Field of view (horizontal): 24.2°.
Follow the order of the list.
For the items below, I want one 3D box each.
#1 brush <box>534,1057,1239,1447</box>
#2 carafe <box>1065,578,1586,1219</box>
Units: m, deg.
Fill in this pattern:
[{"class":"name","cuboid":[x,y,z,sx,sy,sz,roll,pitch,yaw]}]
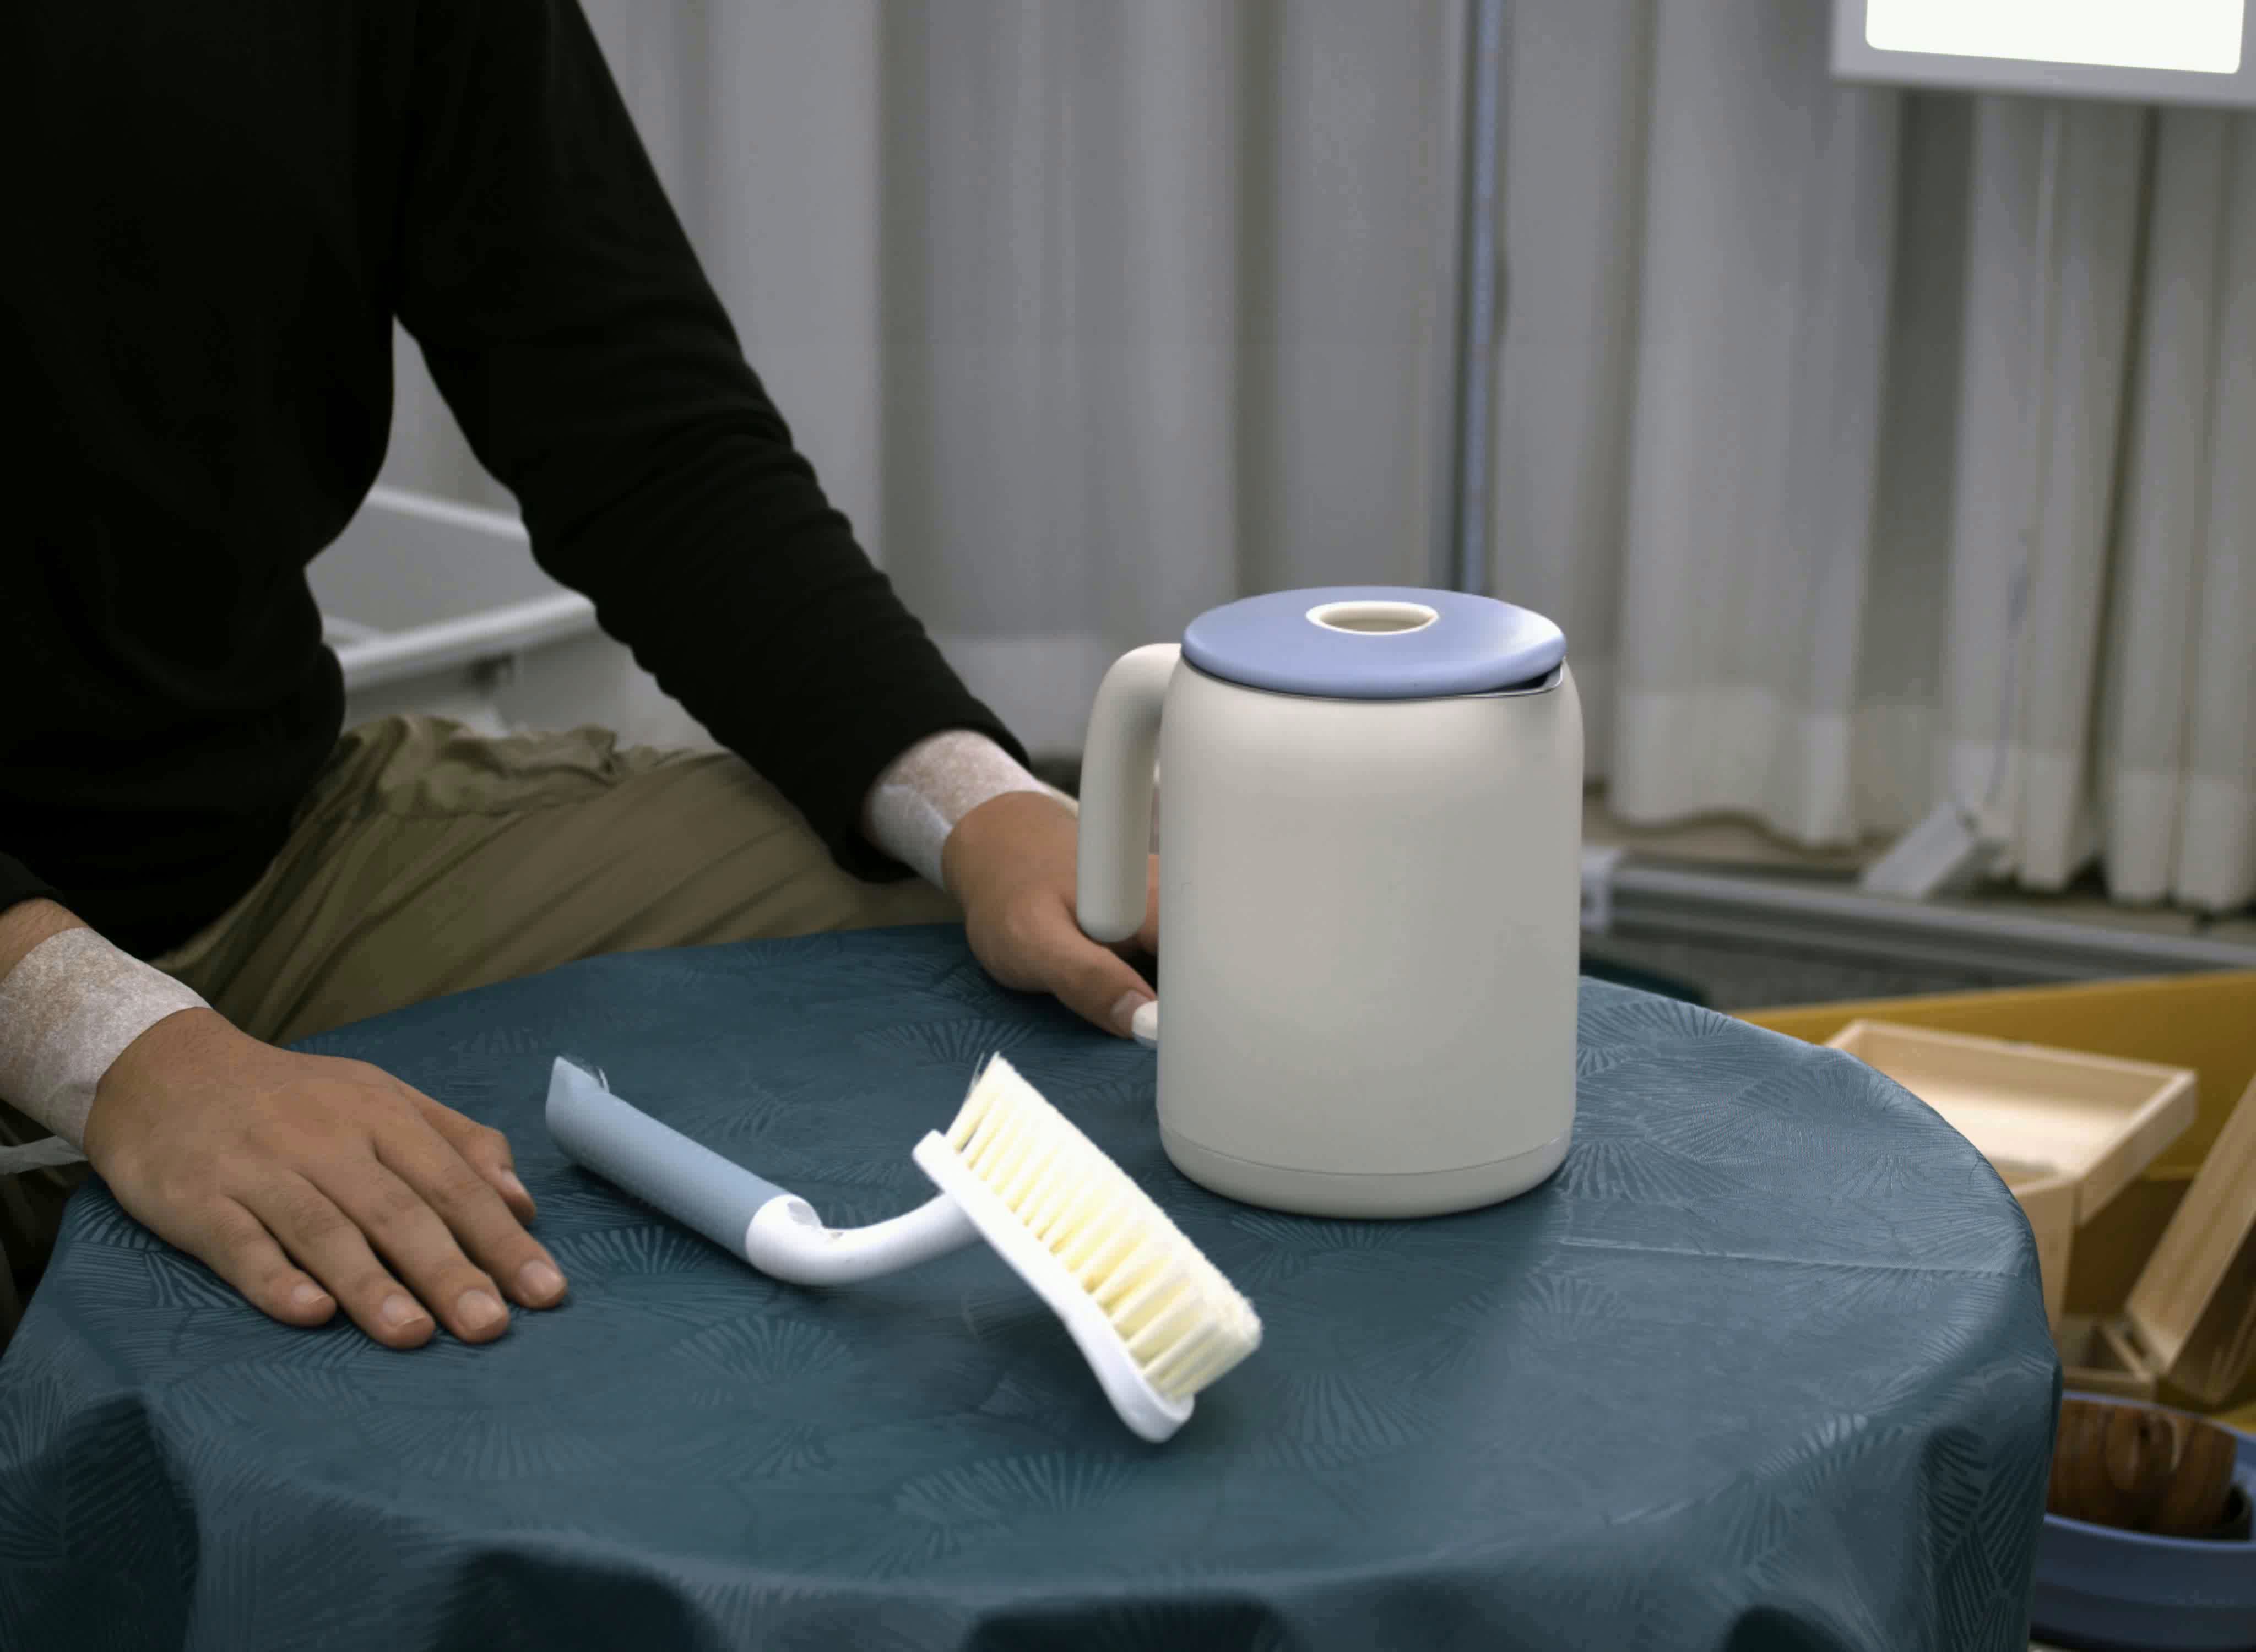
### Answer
[{"class":"brush","cuboid":[-0.070,0.093,1.535,0.085,0.084,0.321,-18,24,-31]},{"class":"carafe","cuboid":[0.056,0.017,1.643,0.188,0.184,0.133,12,19,38]}]
